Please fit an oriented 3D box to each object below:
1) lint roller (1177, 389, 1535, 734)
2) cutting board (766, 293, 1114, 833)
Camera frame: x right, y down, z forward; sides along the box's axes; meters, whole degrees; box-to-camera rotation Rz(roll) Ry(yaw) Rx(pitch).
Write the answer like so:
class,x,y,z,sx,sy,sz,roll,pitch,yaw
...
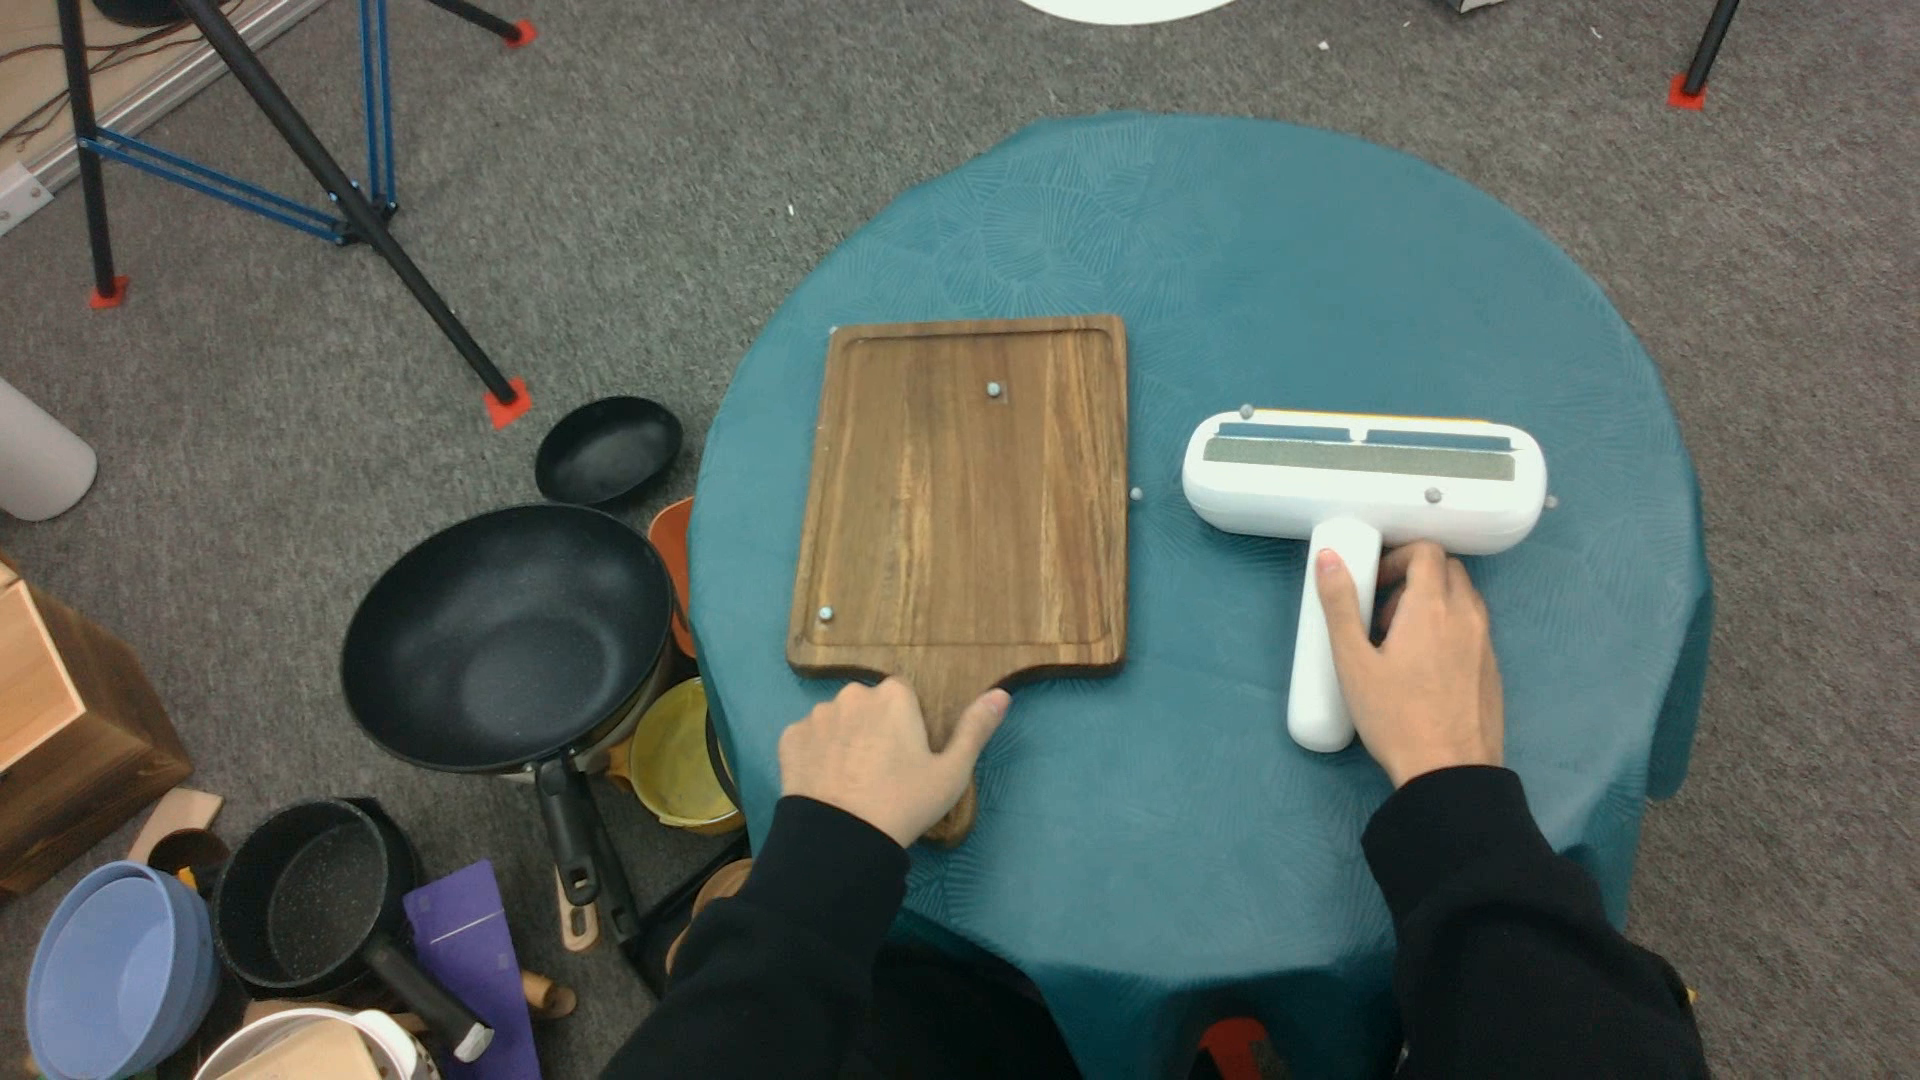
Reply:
class,x,y,z,sx,sy,sz,roll,pitch,yaw
lint roller,0.201,0.010,0.756,0.192,0.074,0.193,11,65,20
cutting board,-0.011,-0.001,0.813,0.201,0.023,0.353,-1,60,7
